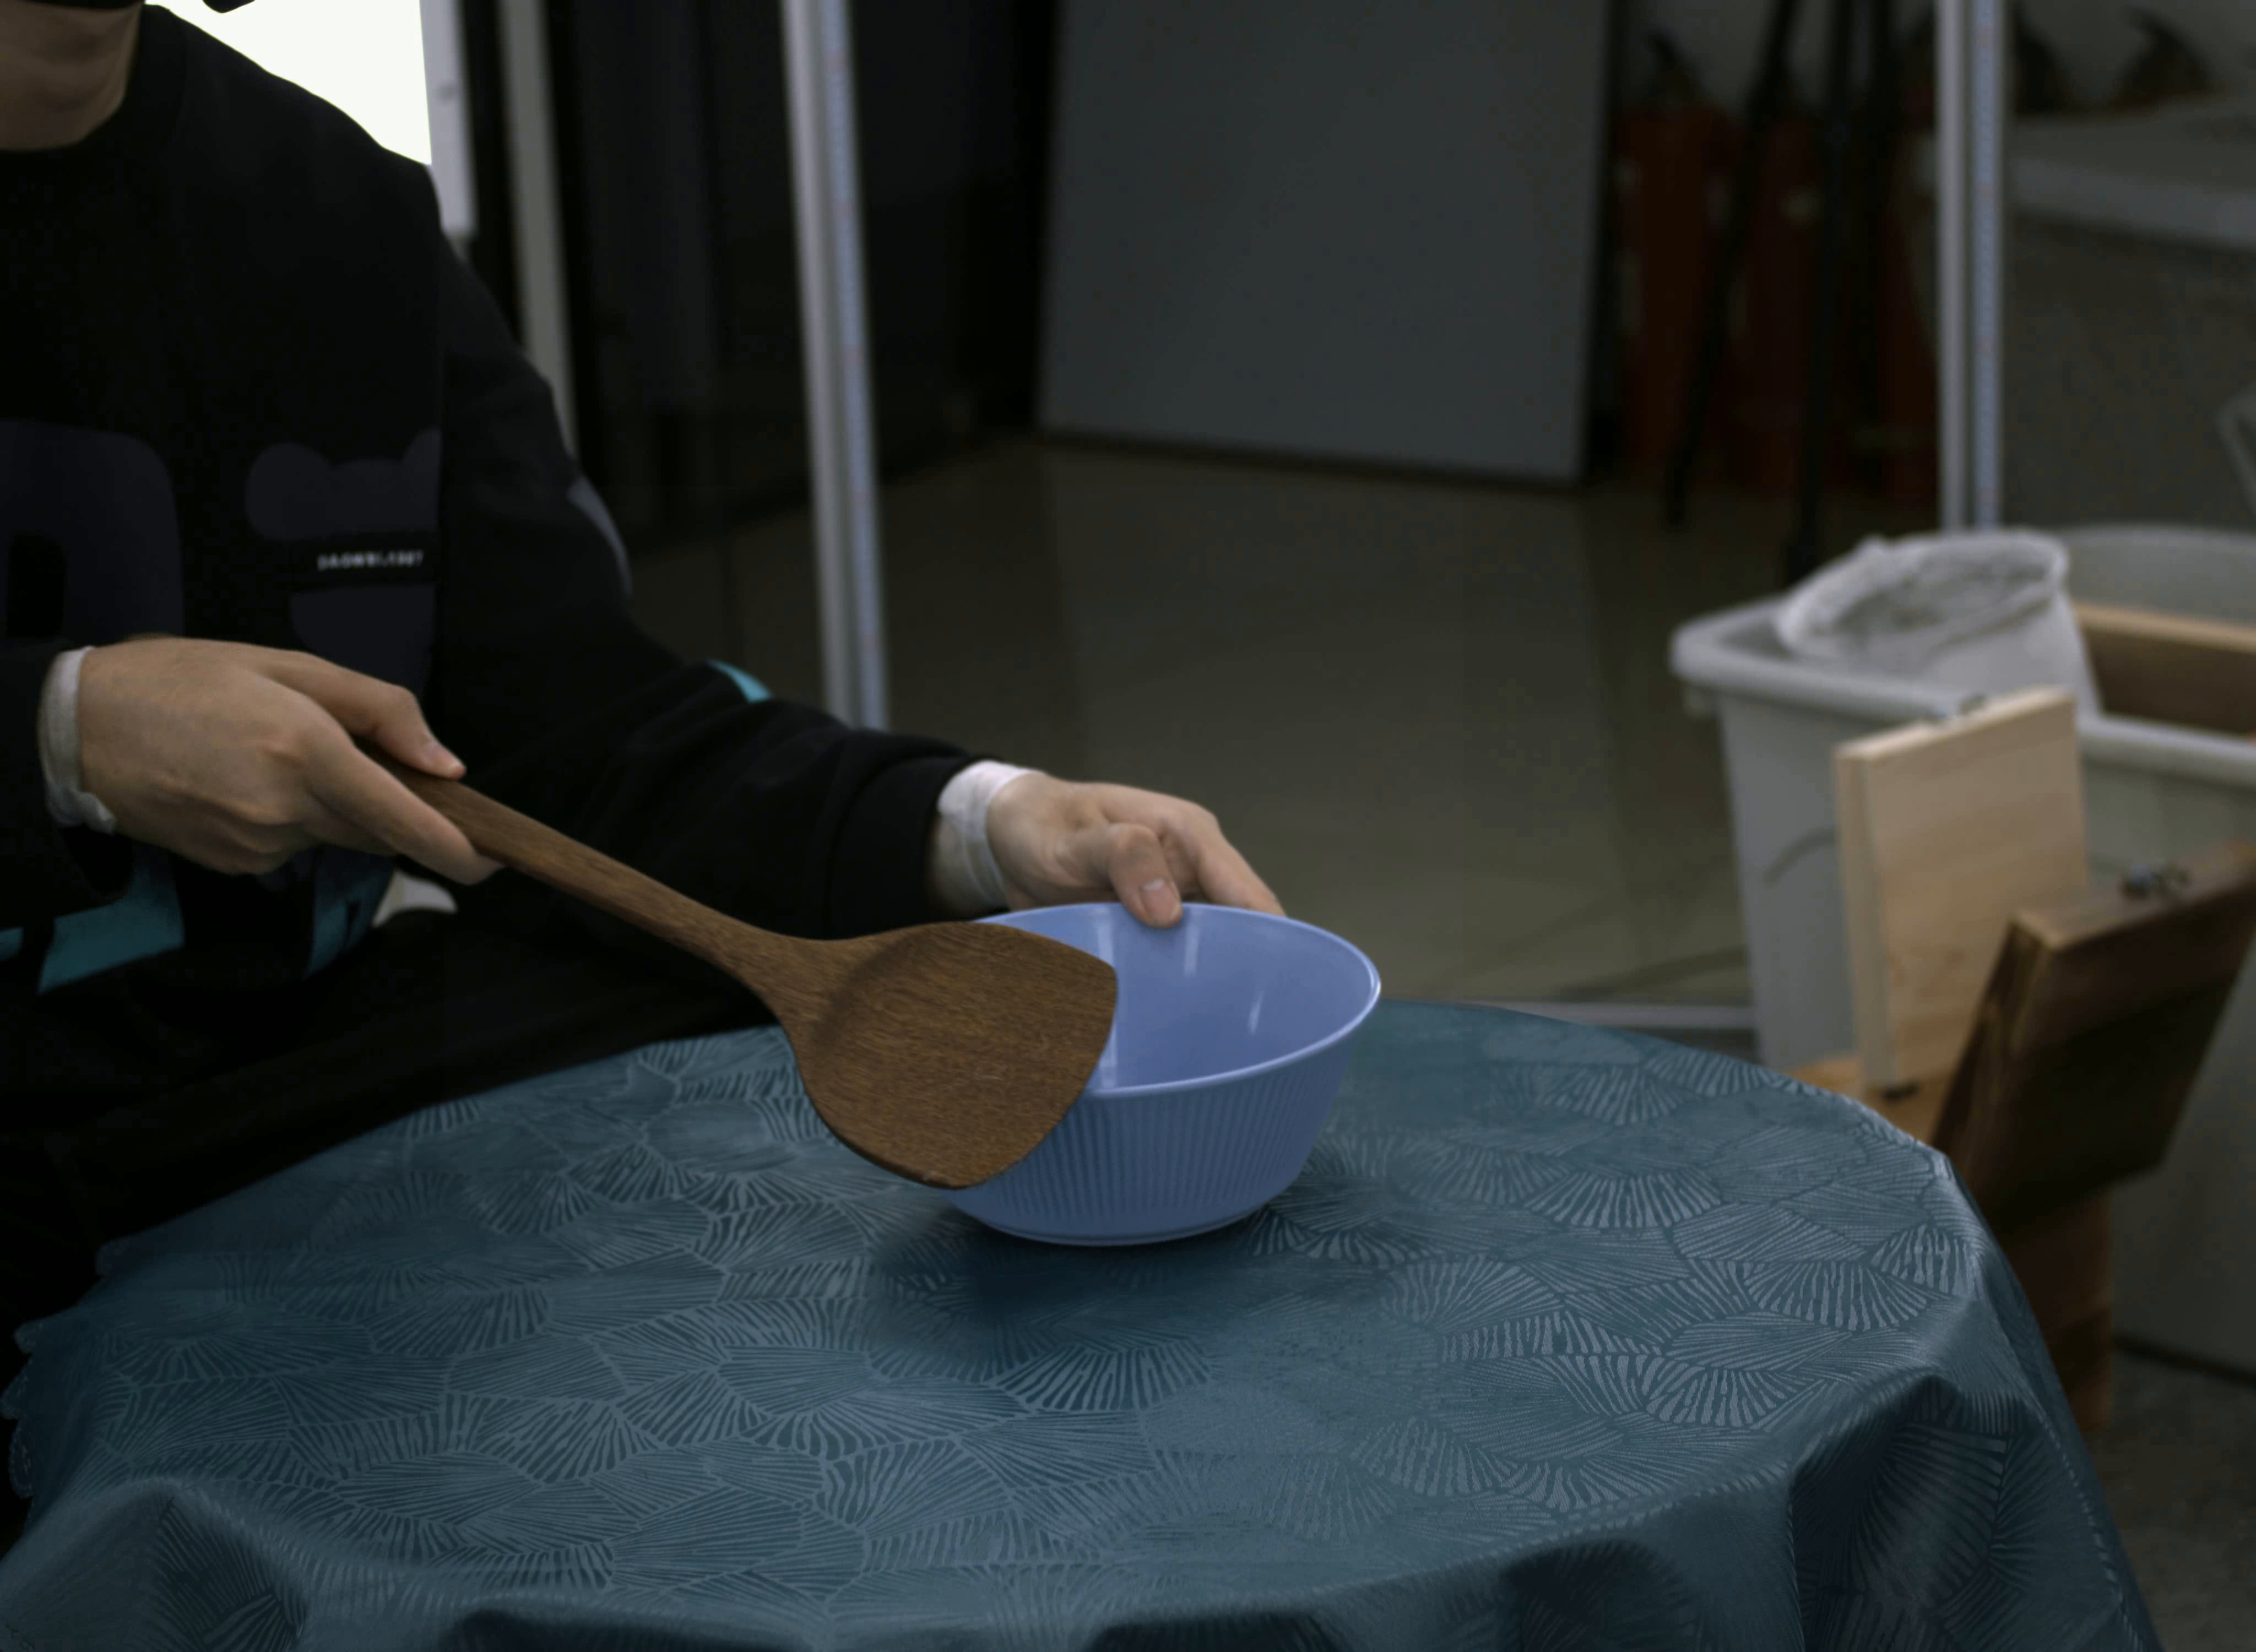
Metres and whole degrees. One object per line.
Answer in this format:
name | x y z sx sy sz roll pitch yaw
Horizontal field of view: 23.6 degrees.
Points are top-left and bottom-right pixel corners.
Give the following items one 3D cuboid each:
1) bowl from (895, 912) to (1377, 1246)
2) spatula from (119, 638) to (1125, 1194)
bowl | -0.004 0.085 1.744 0.174 0.071 0.176 -4 16 0
spatula | -0.174 0.015 1.728 0.387 0.016 0.096 24 64 24
